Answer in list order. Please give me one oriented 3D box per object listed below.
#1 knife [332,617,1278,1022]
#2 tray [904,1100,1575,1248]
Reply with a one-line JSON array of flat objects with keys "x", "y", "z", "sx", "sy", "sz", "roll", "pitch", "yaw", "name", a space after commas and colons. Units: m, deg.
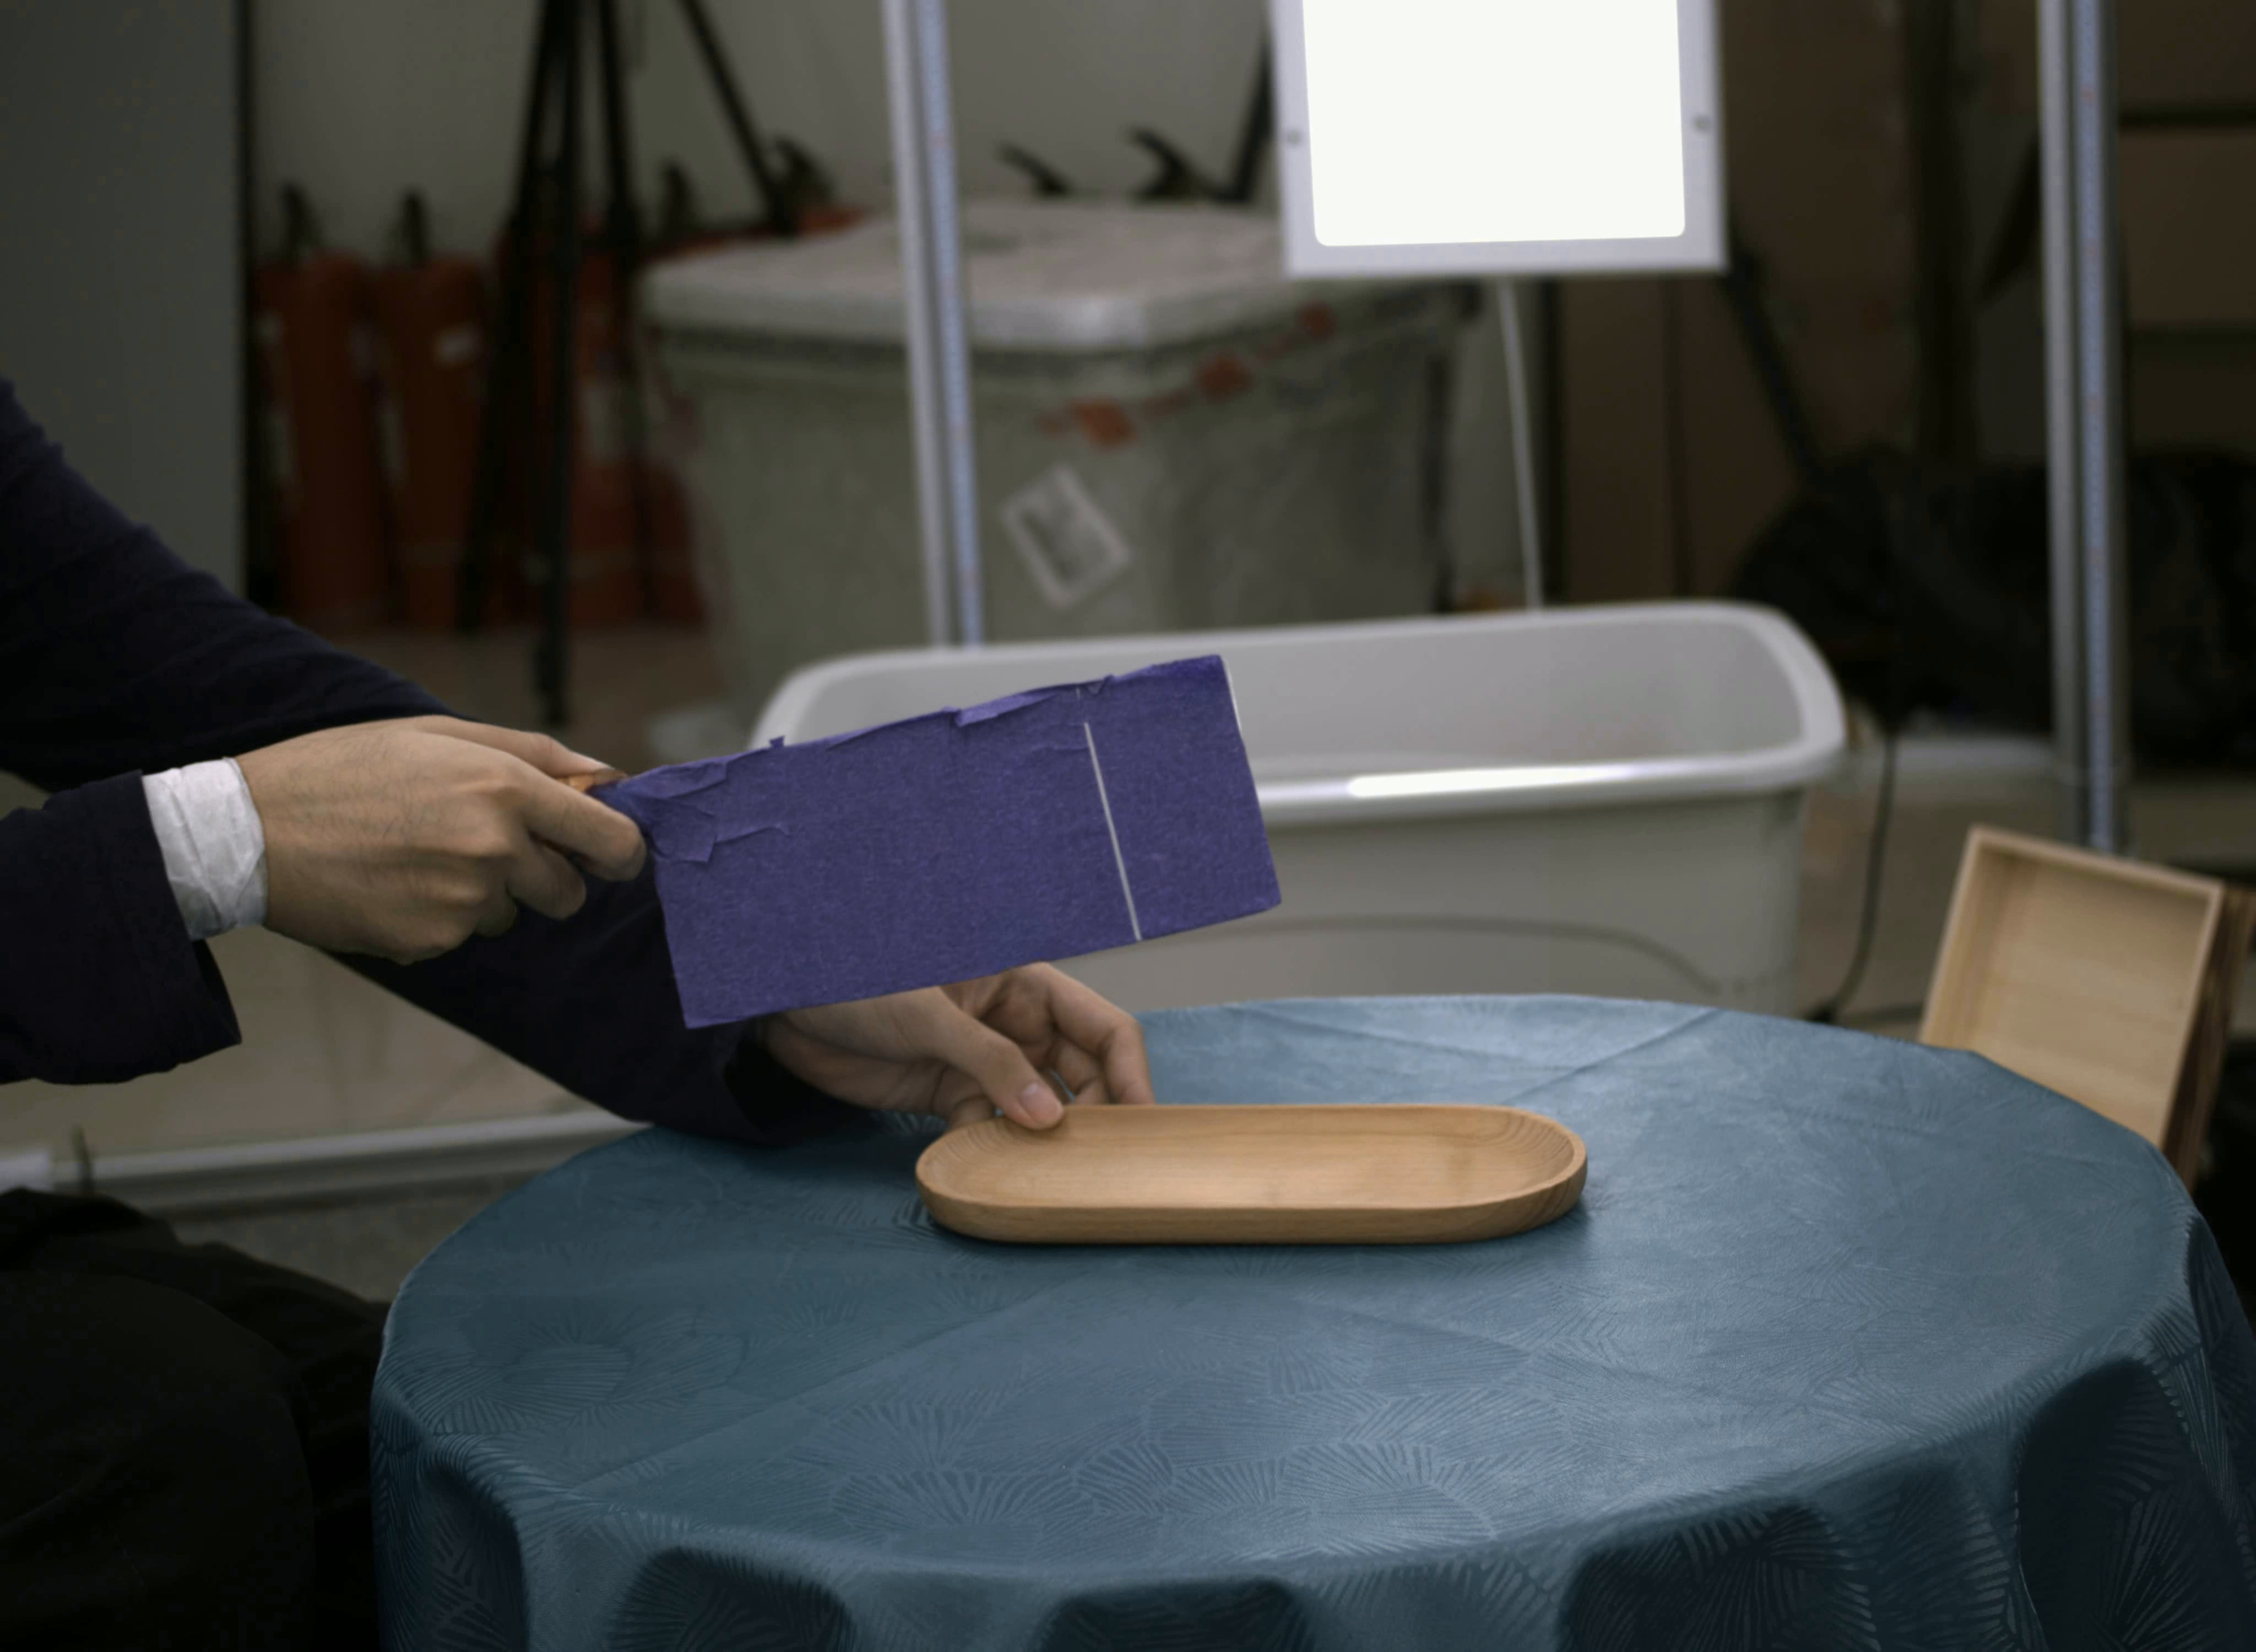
[{"x": -0.108, "y": 0.013, "z": 1.864, "sx": 0.315, "sy": 0.104, "sz": 0.032, "roll": -13, "pitch": -5, "yaw": 3, "name": "knife"}, {"x": 0.038, "y": 0.119, "z": 1.875, "sx": 0.233, "sy": 0.020, "sz": 0.100, "roll": -3, "pitch": 16, "yaw": 13, "name": "tray"}]
